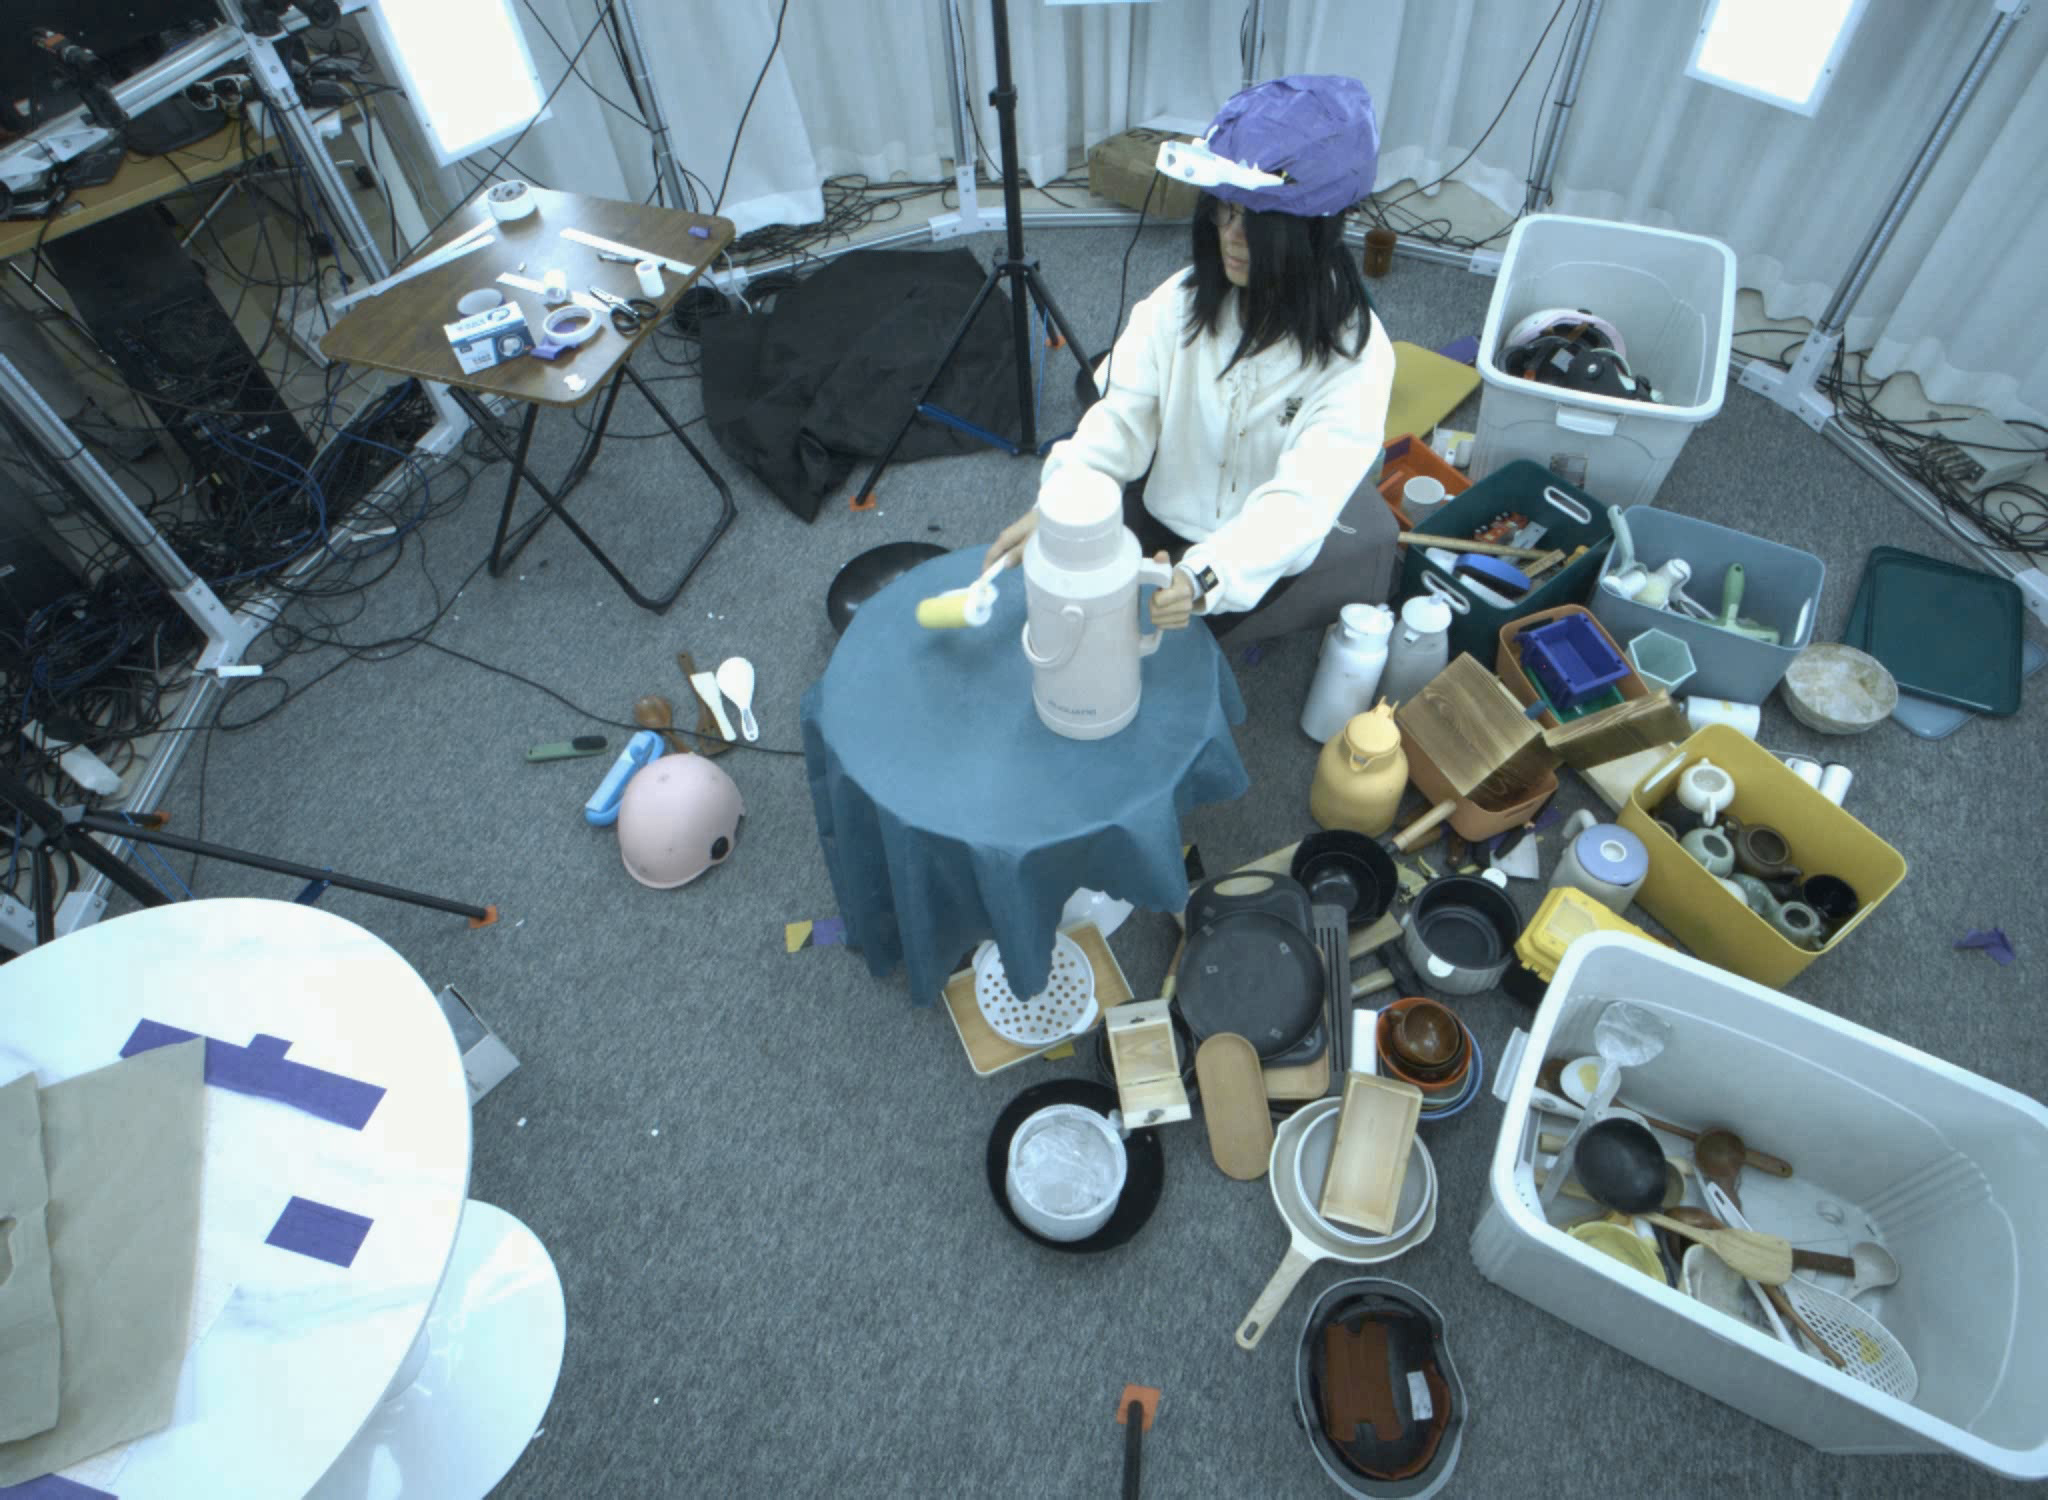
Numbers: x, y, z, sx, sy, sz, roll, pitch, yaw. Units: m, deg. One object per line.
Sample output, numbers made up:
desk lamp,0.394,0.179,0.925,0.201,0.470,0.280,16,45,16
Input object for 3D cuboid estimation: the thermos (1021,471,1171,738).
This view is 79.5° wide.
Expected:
thermos,0.094,-0.192,1.676,0.206,0.411,0.174,6,55,8

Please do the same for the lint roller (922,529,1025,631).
lint roller,-0.063,-0.265,1.836,0.052,0.171,0.192,35,74,-24
